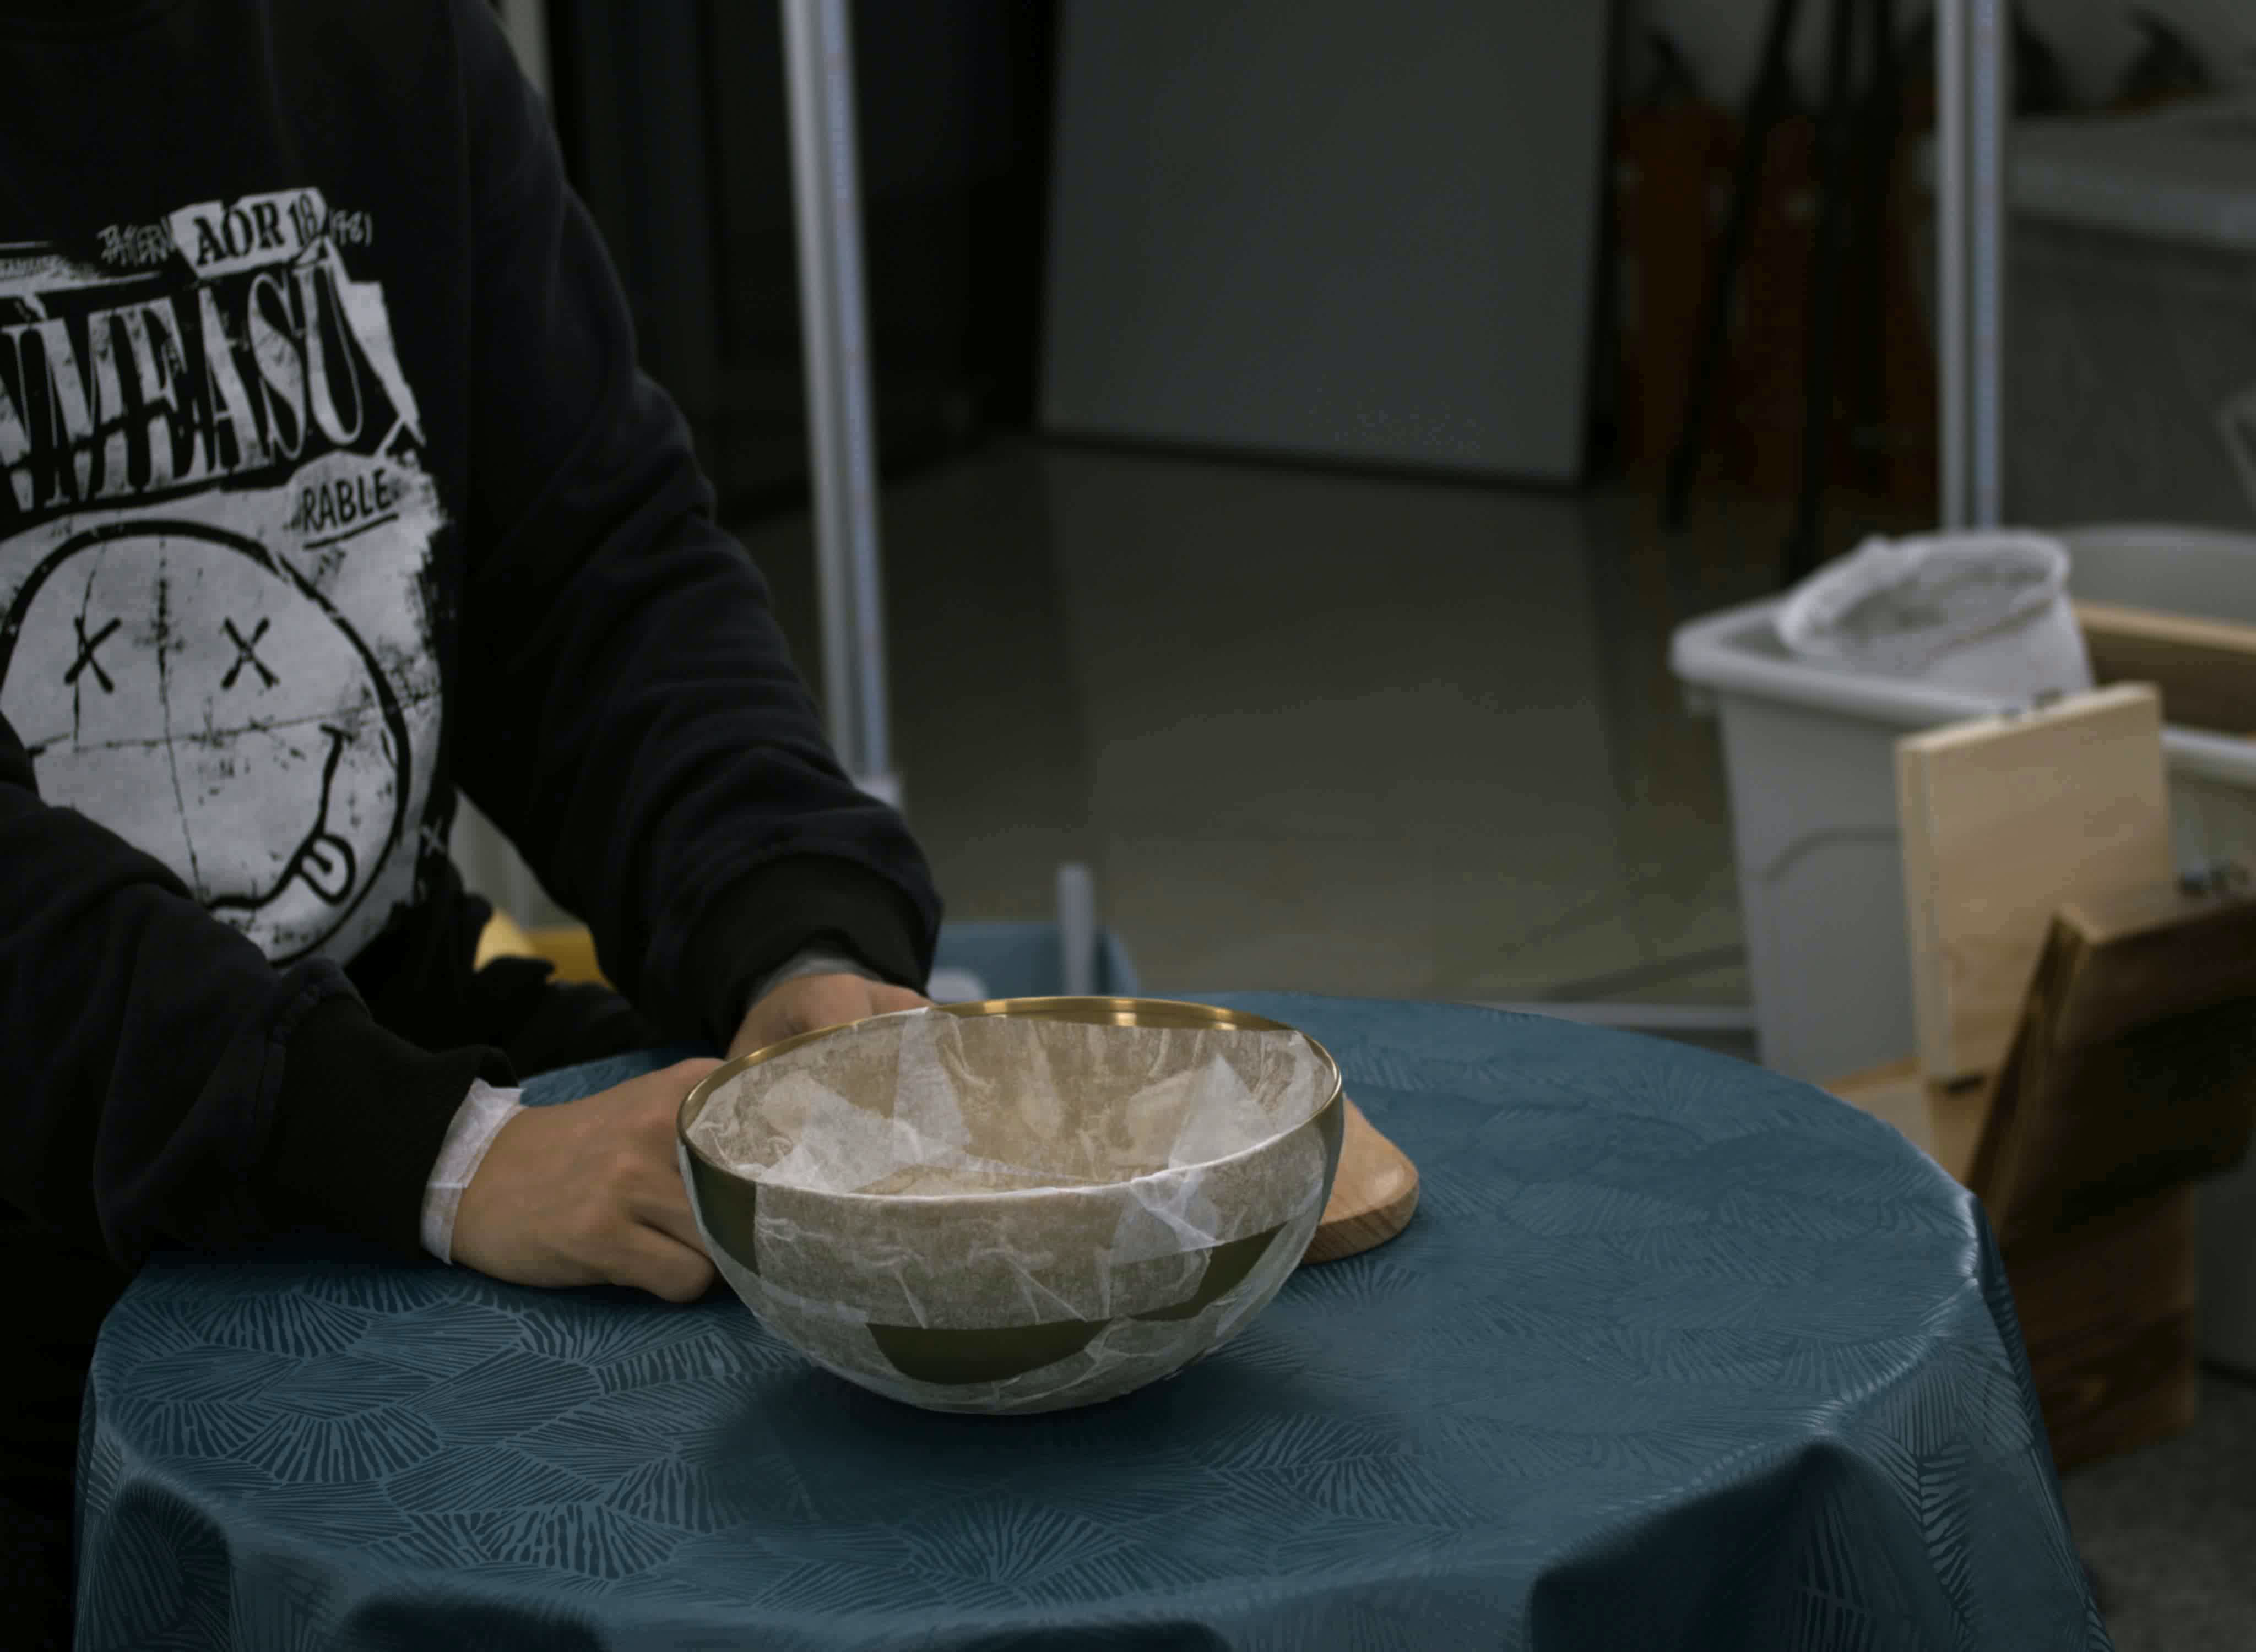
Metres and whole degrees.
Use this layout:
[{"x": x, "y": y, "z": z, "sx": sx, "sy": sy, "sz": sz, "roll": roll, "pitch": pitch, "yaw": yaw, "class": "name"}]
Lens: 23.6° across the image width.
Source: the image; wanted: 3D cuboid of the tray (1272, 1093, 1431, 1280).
[{"x": 0.030, "y": 0.108, "z": 1.787, "sx": 0.100, "sy": 0.020, "sz": 0.233, "roll": -10, "pitch": 17, "yaw": -12, "class": "tray"}]

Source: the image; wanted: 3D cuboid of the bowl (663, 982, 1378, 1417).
[{"x": -0.030, "y": 0.118, "z": 1.597, "sx": 0.212, "sy": 0.095, "sz": 0.215, "roll": -5, "pitch": 14, "yaw": 0, "class": "bowl"}]
